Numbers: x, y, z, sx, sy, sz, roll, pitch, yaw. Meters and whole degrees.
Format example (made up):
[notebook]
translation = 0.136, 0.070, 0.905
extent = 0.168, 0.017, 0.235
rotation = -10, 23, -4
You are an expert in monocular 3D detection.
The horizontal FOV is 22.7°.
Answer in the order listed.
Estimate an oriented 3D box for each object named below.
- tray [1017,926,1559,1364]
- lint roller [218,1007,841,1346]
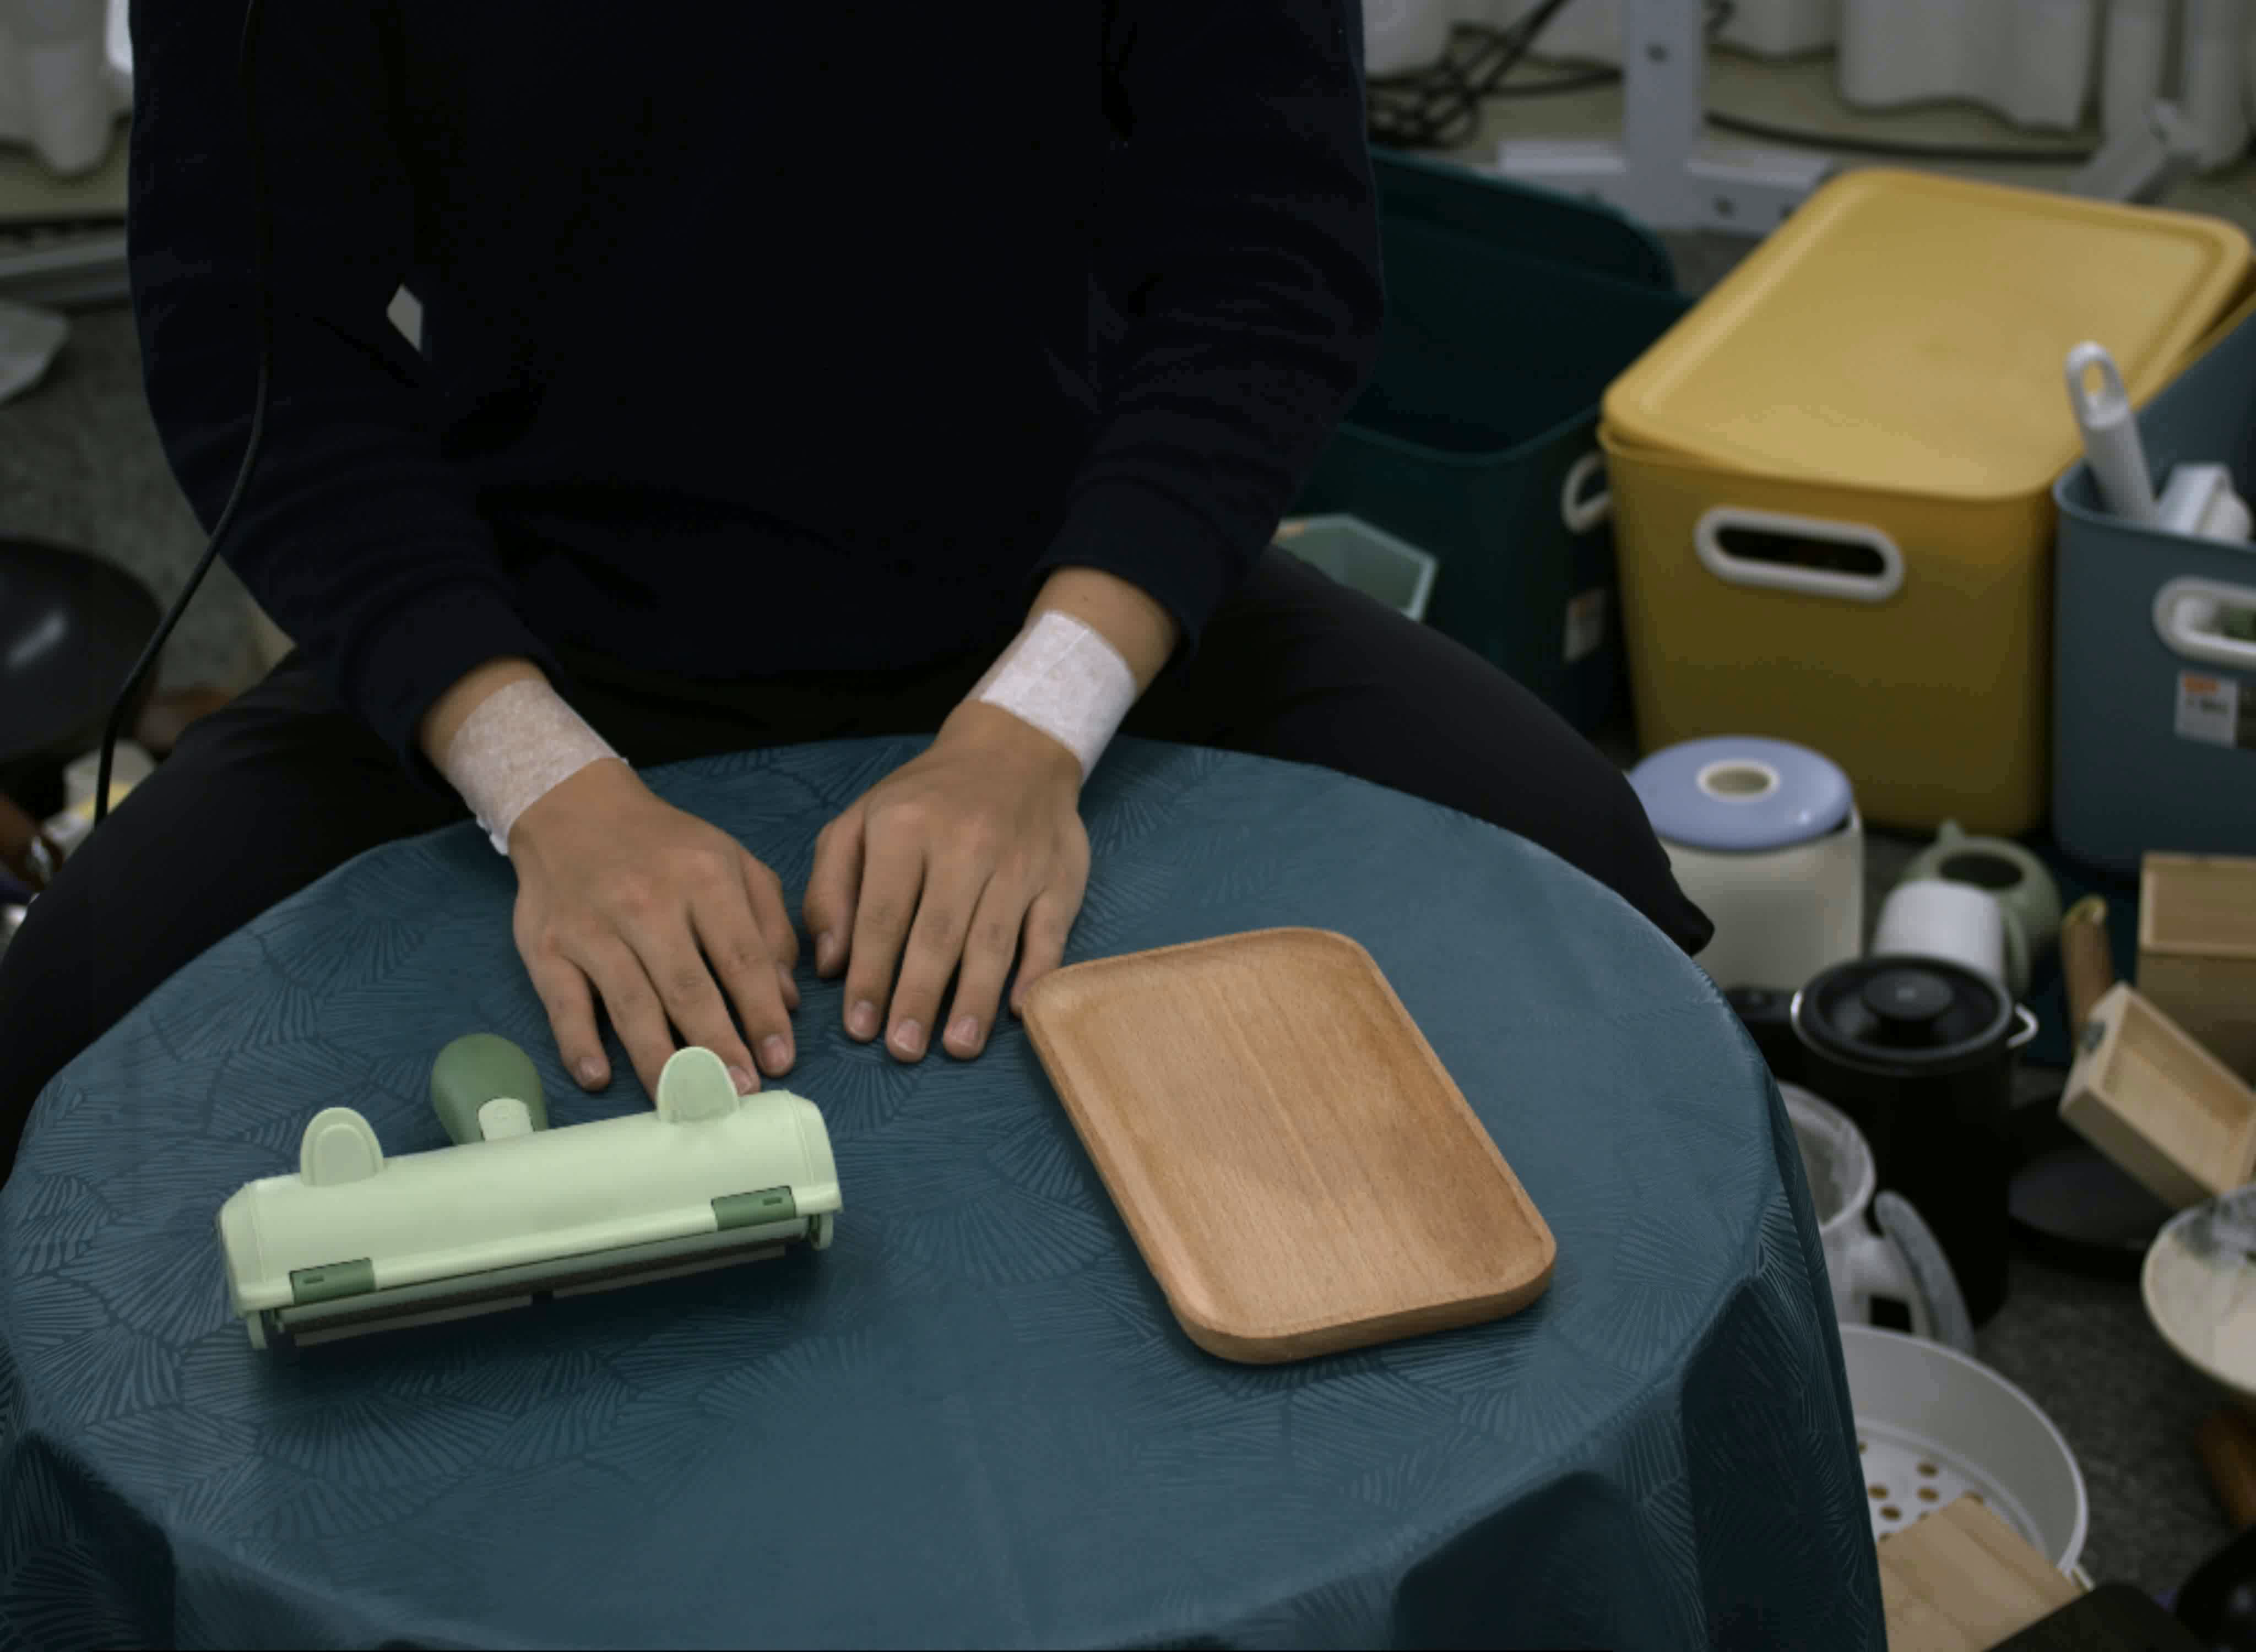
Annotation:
[tray]
translation = 0.049, 0.103, 1.875
extent = 0.130, 0.022, 0.253
rotation = -7, 27, -13
[lint roller]
translation = -0.207, 0.090, 1.850
extent = 0.198, 0.081, 0.185
rotation = -9, 34, -13
